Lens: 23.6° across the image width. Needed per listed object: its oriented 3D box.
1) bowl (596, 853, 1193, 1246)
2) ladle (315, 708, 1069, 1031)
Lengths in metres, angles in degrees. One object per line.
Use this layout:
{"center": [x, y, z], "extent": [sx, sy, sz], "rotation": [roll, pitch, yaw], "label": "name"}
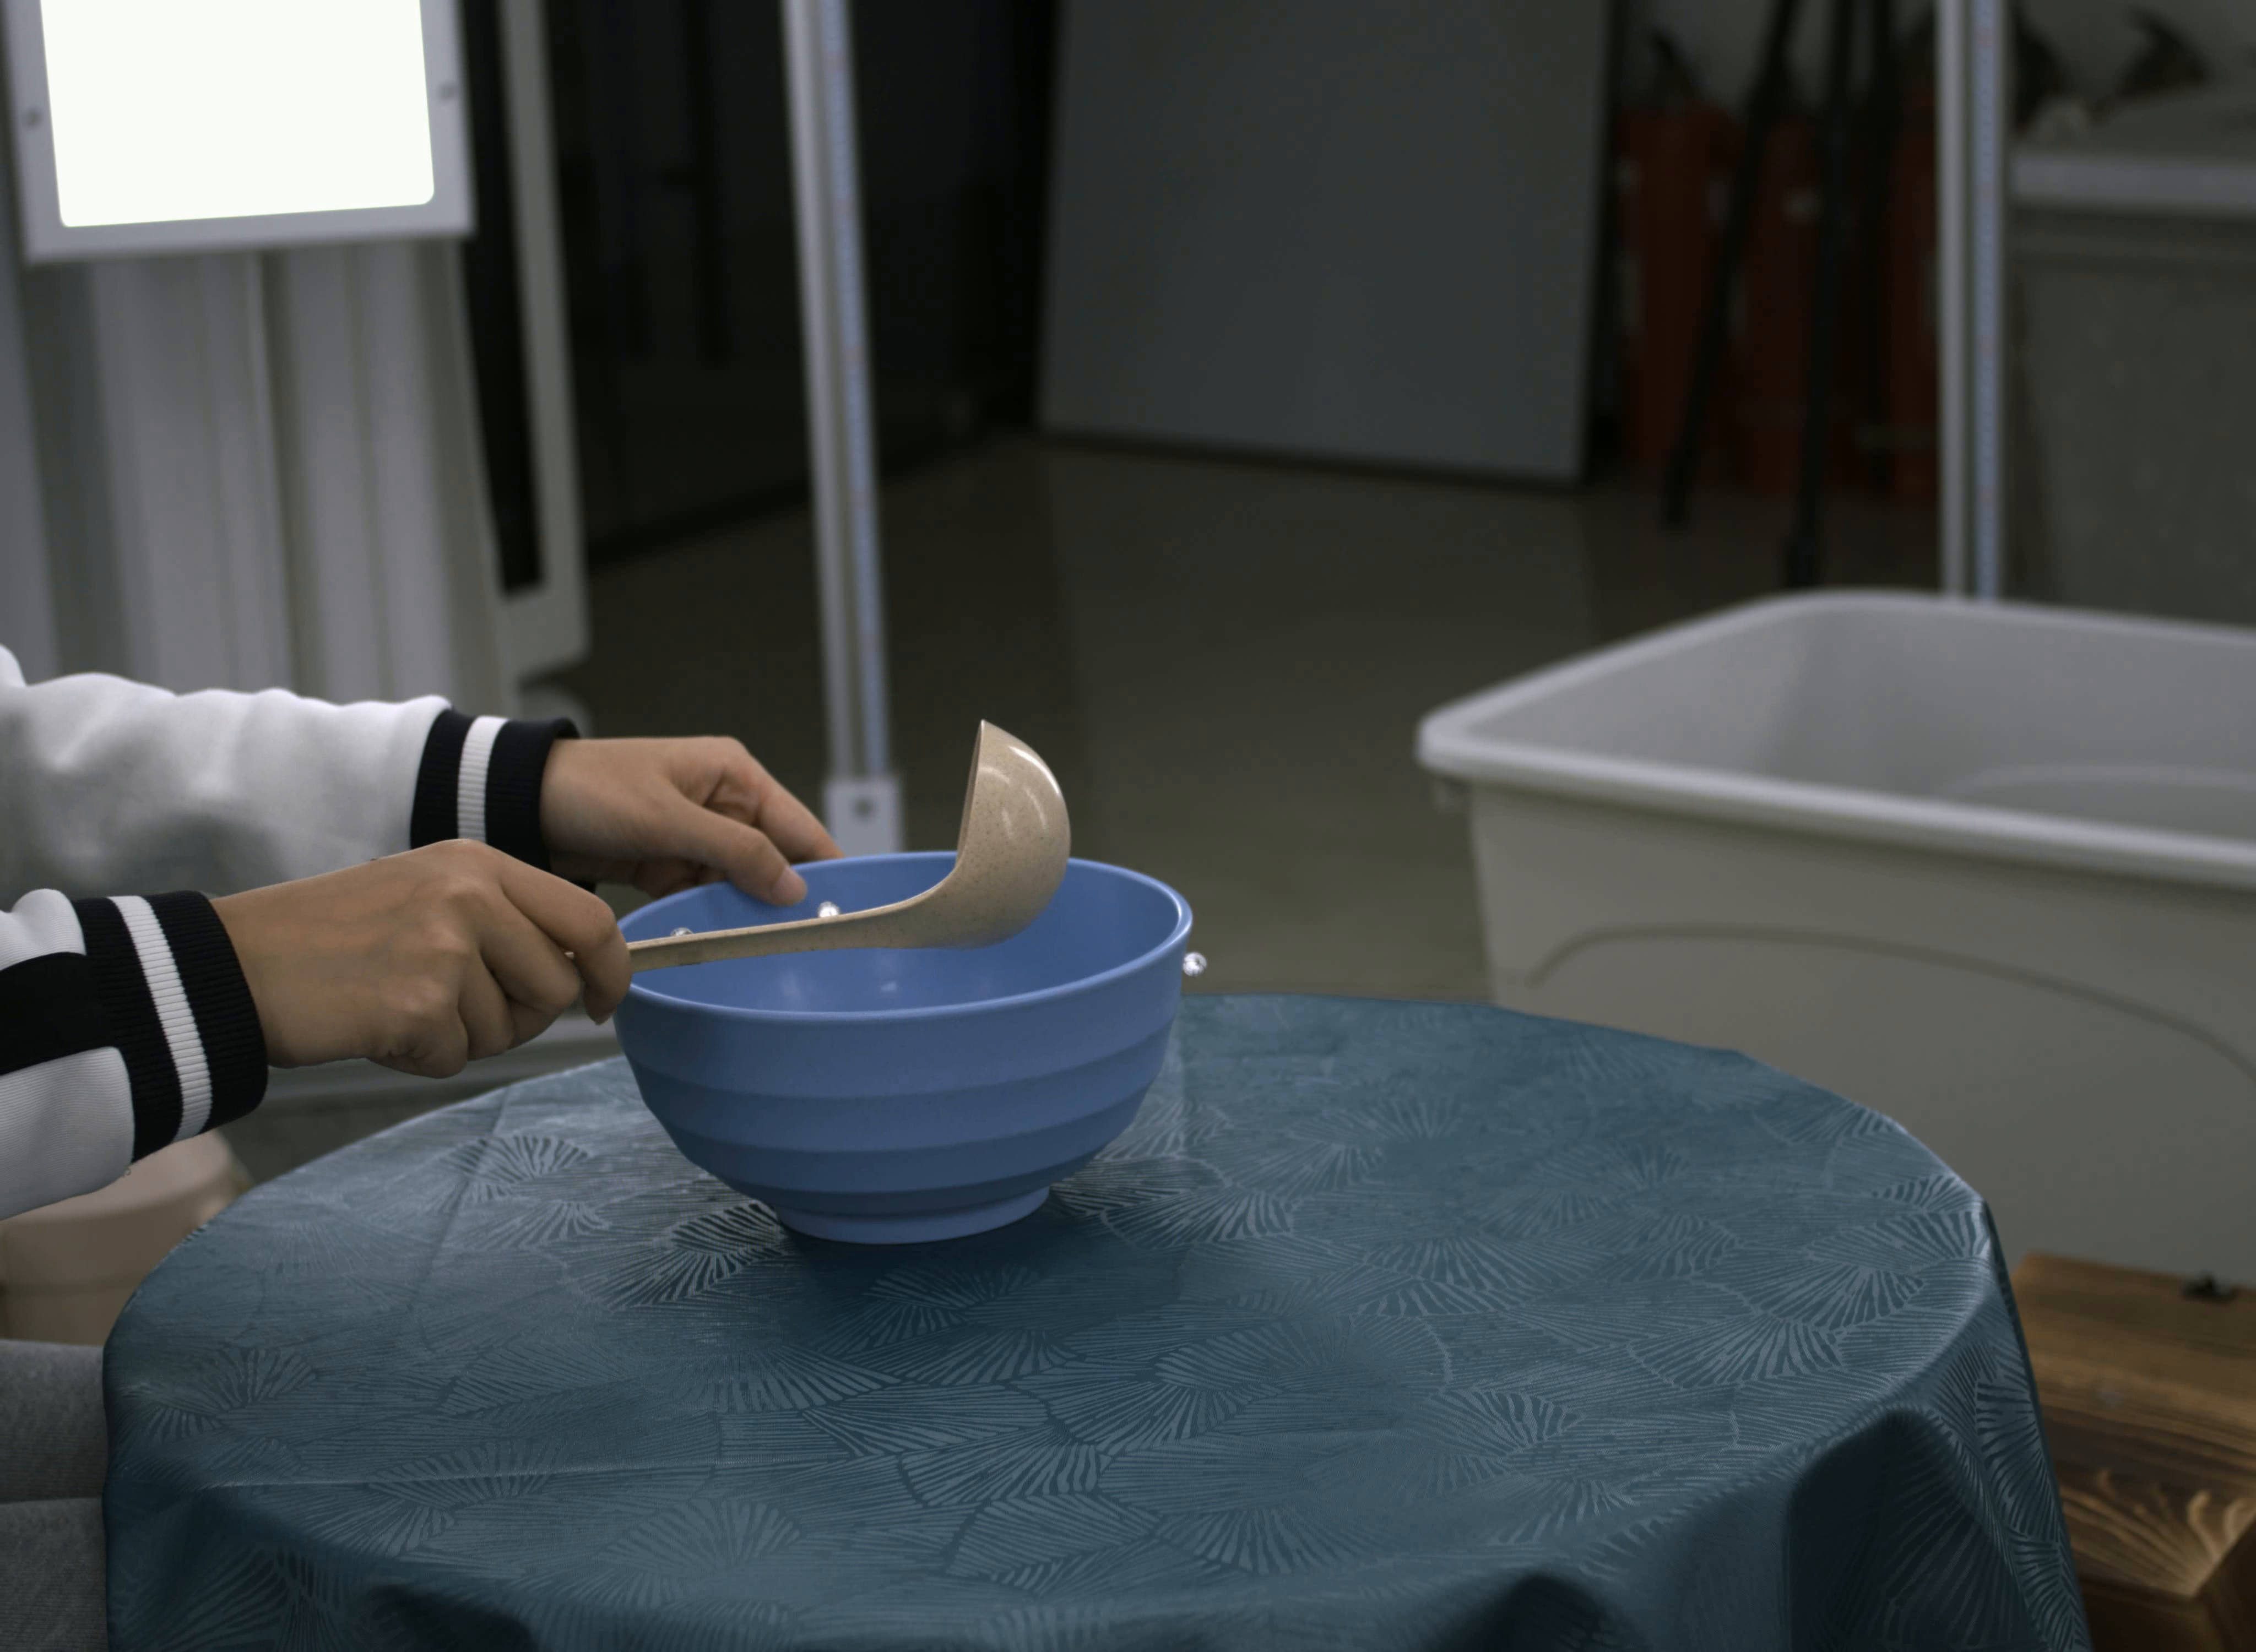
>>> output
{"center": [-0.074, 0.078, 1.765], "extent": [0.194, 0.096, 0.197], "rotation": [-2, 13, 0], "label": "bowl"}
{"center": [-0.139, 0.013, 1.669], "extent": [0.249, 0.073, 0.074], "rotation": [-8, 55, -23], "label": "ladle"}
